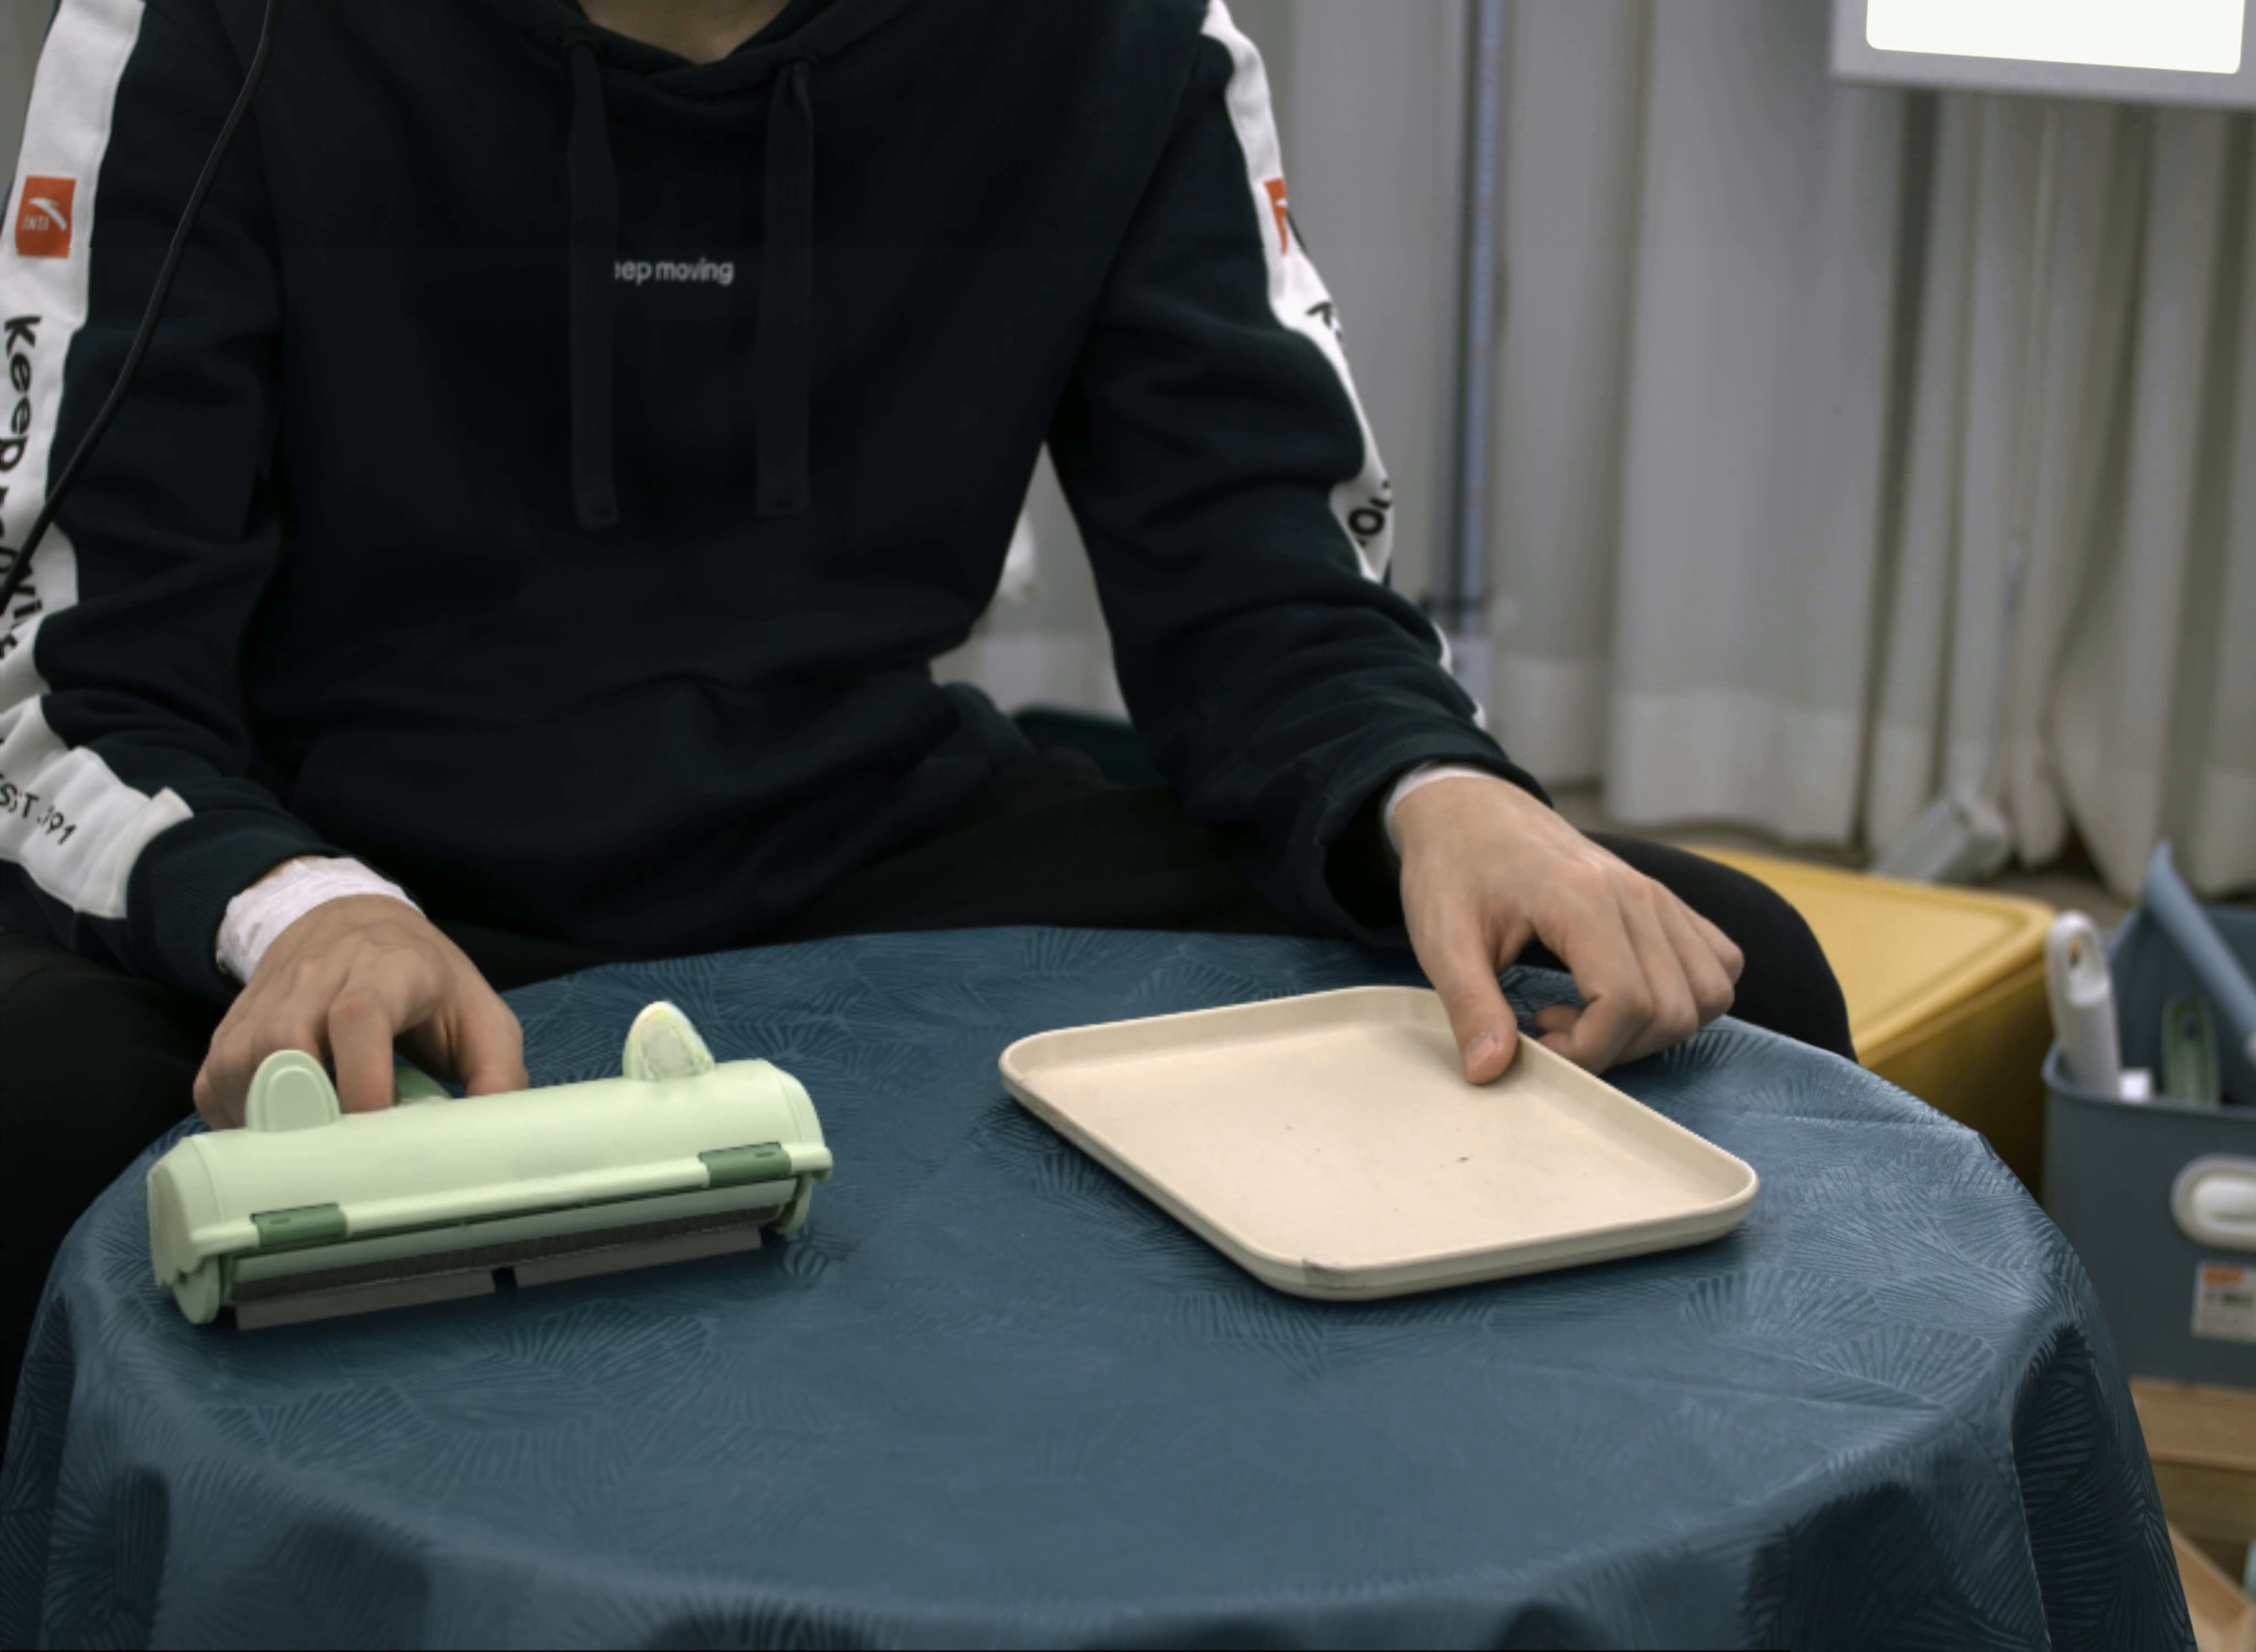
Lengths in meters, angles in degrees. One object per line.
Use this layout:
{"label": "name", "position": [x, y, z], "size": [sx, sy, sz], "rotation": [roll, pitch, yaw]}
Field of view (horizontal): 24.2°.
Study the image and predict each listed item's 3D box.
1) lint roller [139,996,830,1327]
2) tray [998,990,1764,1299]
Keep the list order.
{"label": "lint roller", "position": [-0.210, 0.081, 1.579], "size": [0.199, 0.083, 0.181], "rotation": [-7, 22, -25]}
{"label": "tray", "position": [0.075, 0.098, 1.641], "size": [0.172, 0.017, 0.237], "rotation": [-6, 17, -25]}
